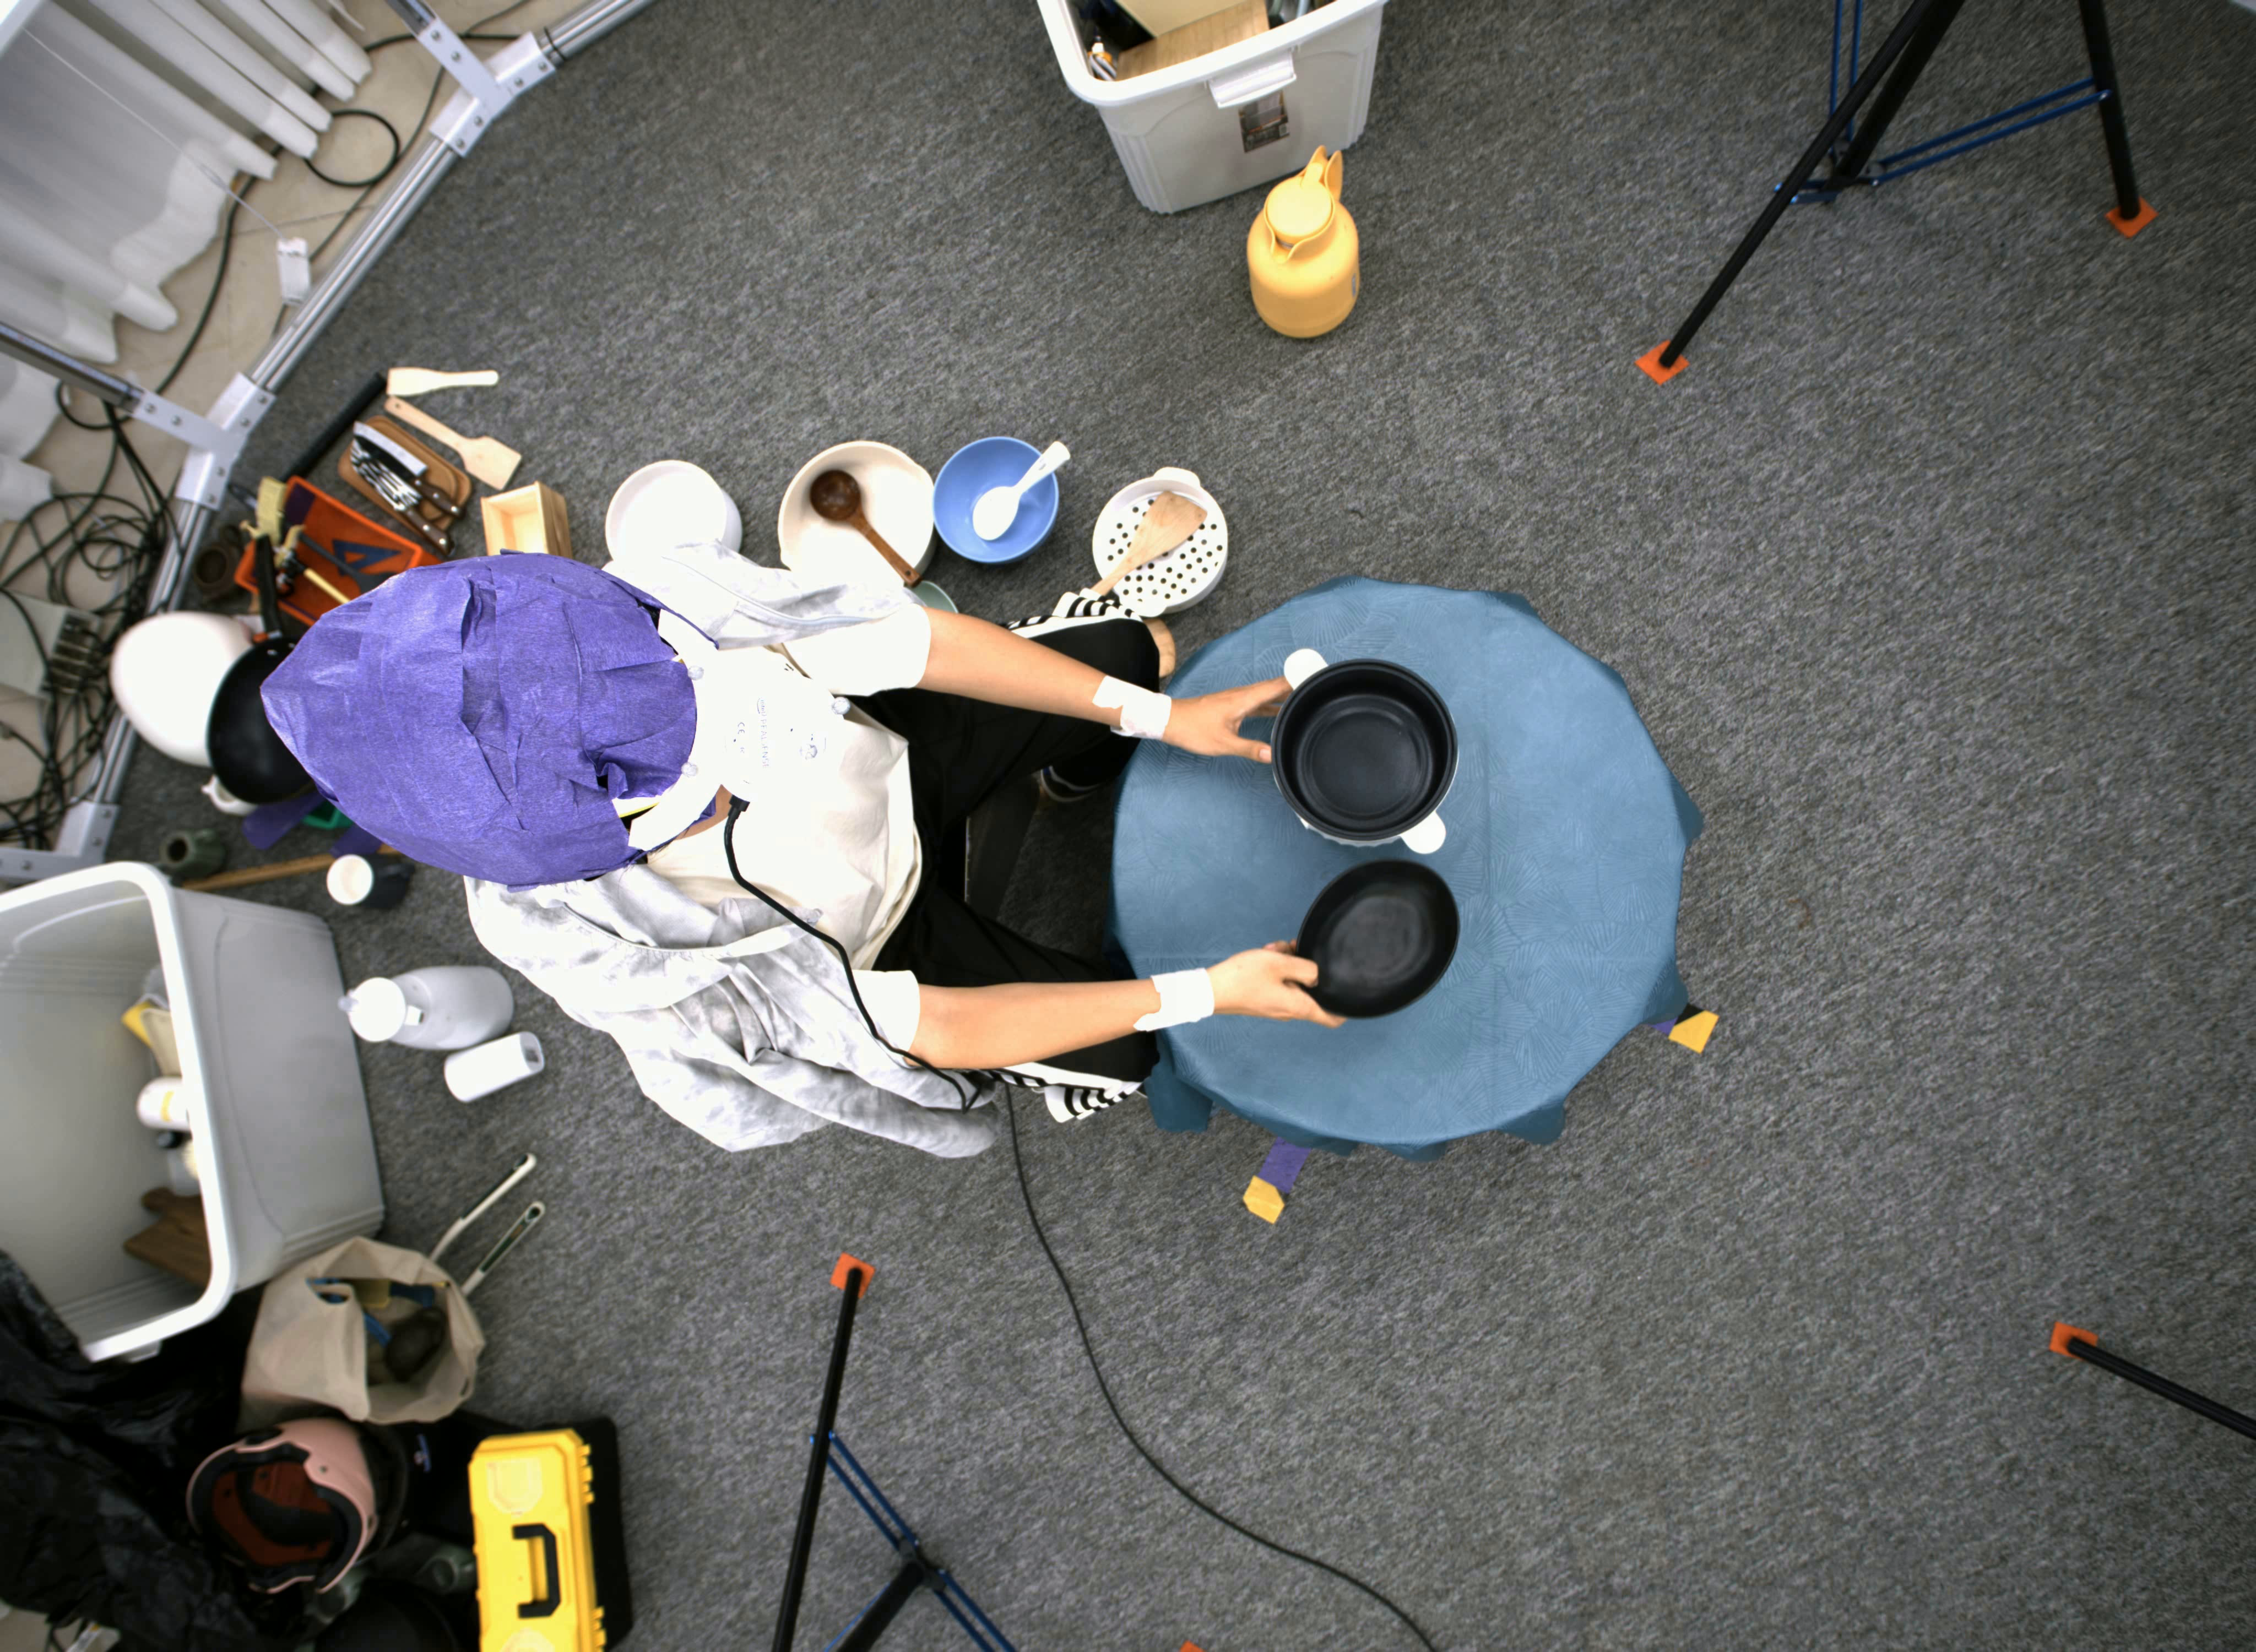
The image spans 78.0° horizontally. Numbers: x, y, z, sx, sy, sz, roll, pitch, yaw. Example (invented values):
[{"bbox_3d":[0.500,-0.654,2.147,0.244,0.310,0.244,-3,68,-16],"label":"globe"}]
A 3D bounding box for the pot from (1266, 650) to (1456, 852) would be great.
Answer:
[{"bbox_3d":[0.242,-0.074,1.401,0.192,0.142,0.239,-37,81,9],"label":"pot"}]

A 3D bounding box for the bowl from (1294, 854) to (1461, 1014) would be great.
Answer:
[{"bbox_3d":[0.239,0.105,1.315,0.171,0.066,0.136,-45,75,9],"label":"bowl"}]
